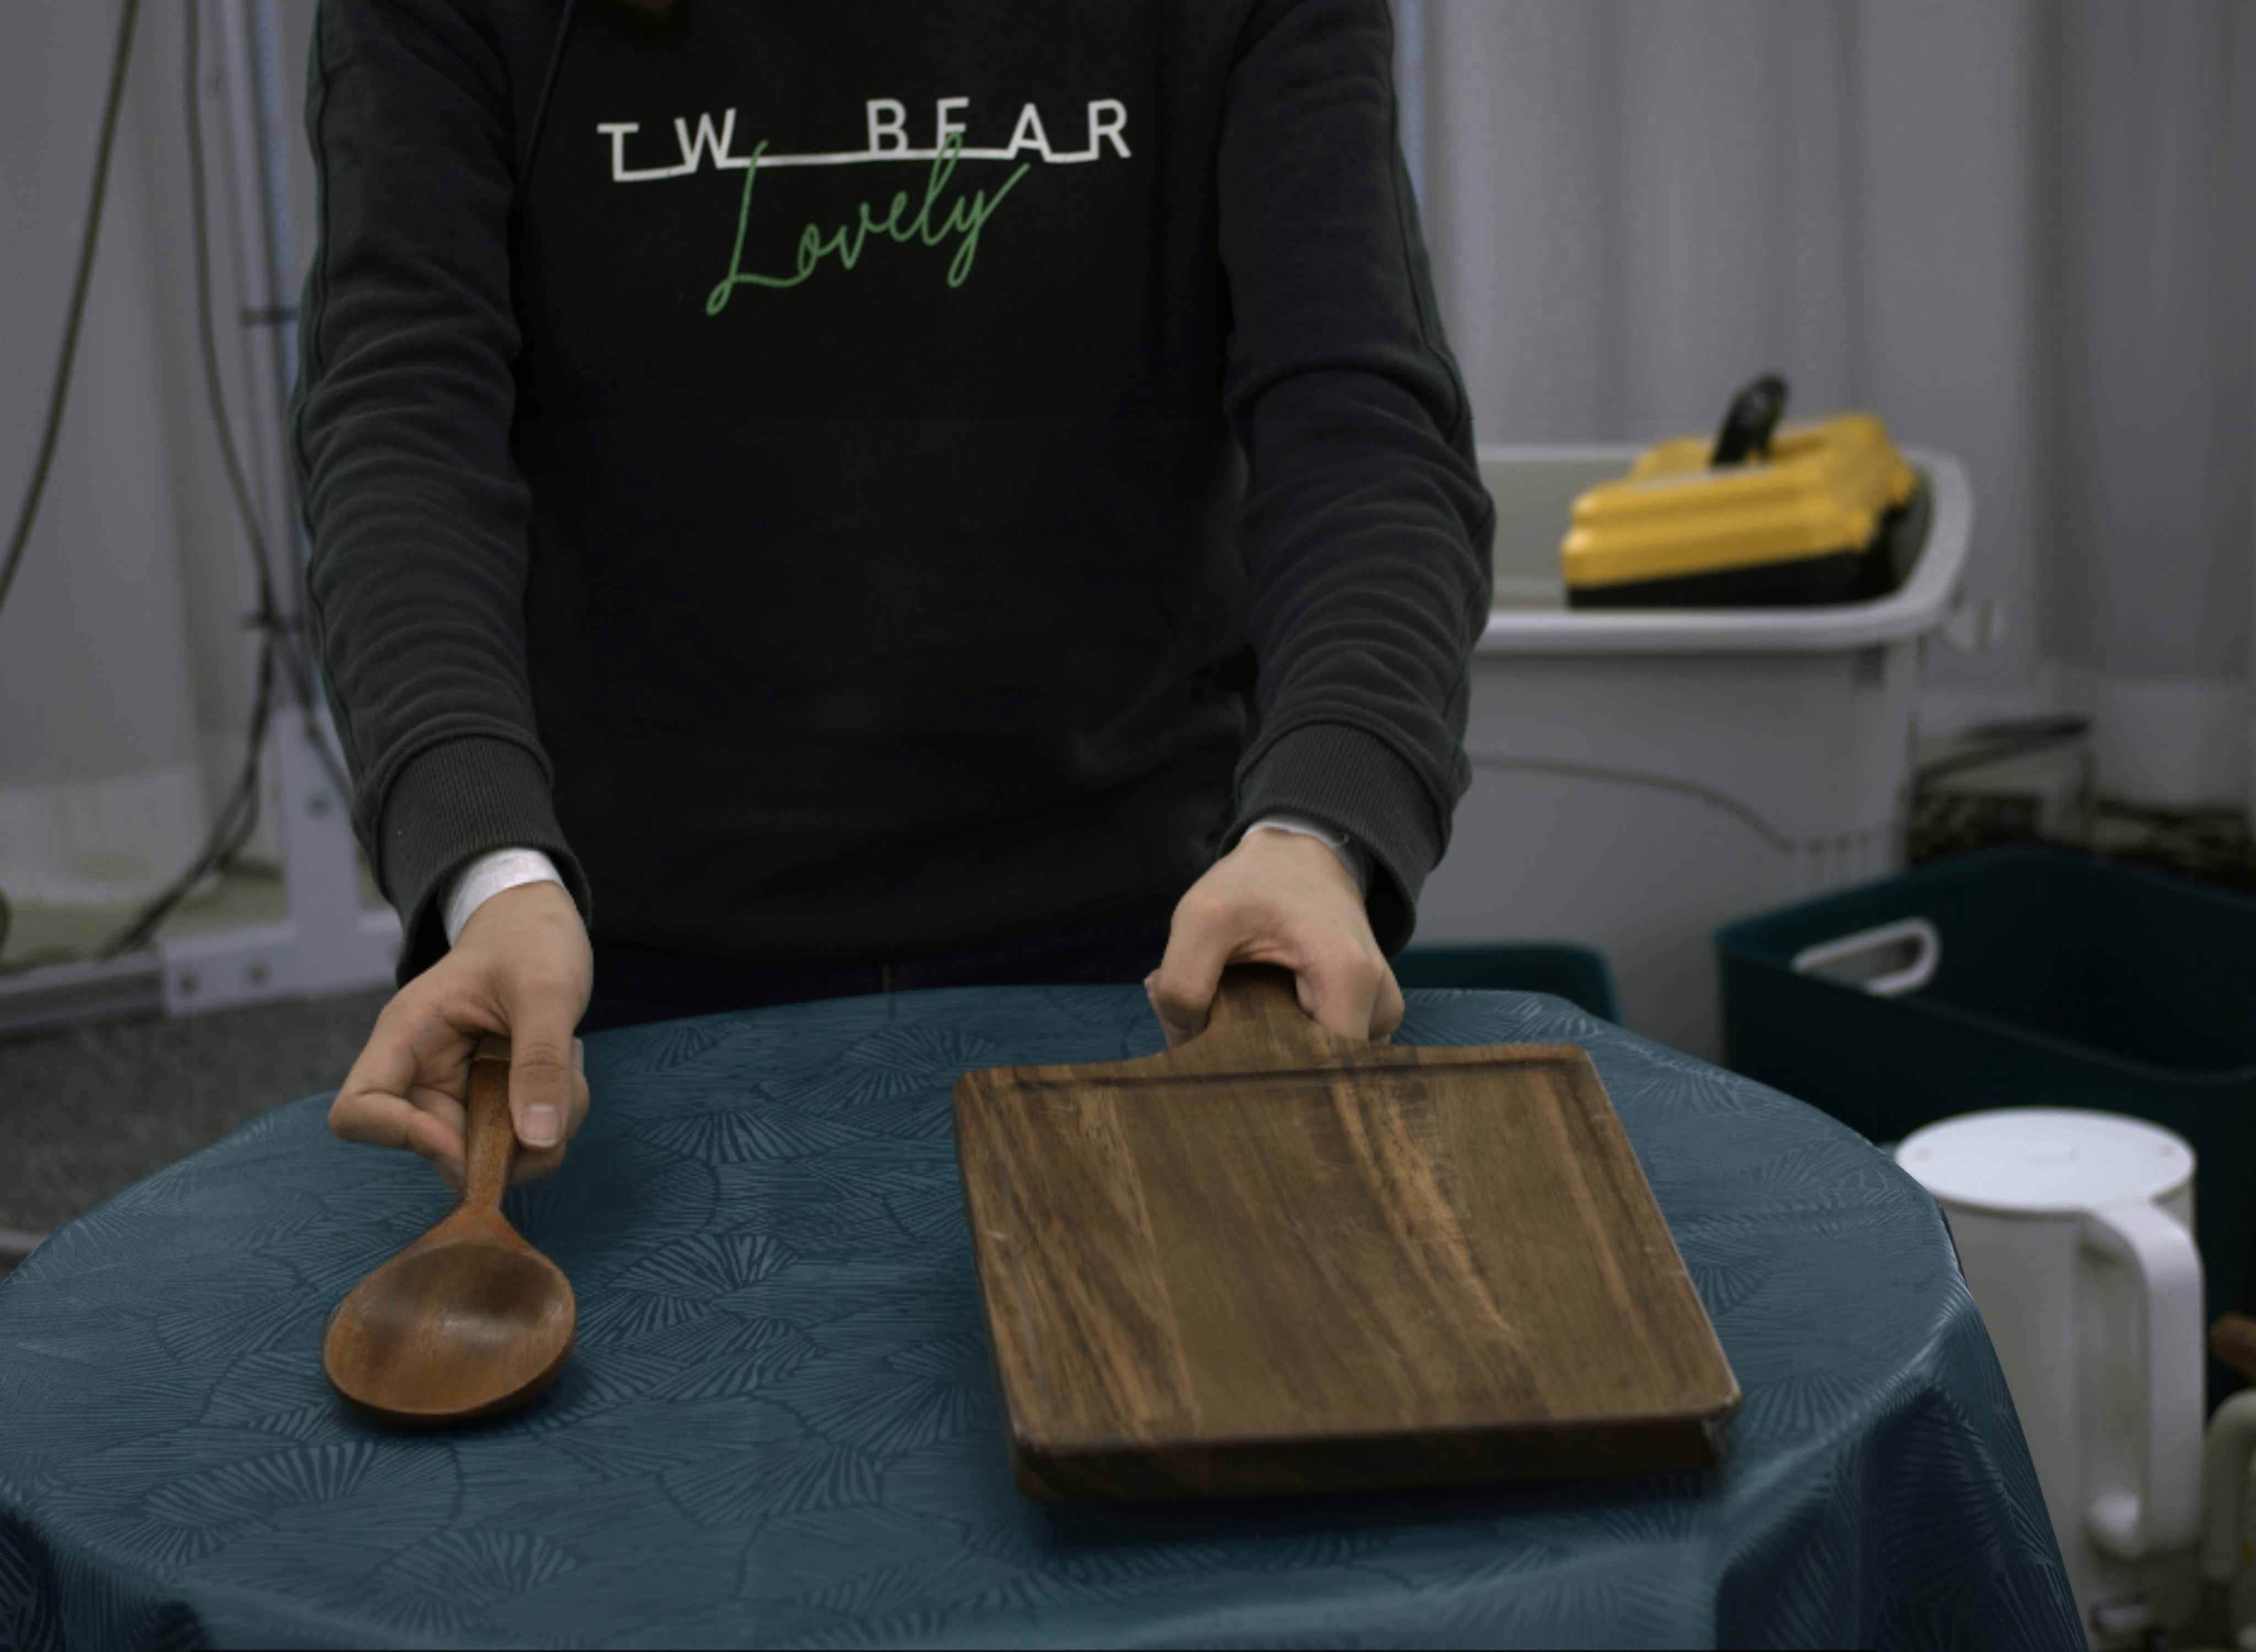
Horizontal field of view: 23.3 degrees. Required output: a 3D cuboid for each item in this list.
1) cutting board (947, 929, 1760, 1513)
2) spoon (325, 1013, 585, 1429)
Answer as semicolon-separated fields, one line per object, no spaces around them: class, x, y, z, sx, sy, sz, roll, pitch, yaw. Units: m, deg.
cutting board;0.051;0.104;1.592;0.200;0.023;0.355;-3;21;-5
spoon;-0.192;0.118;1.629;0.075;0.017;0.218;-5;29;4
